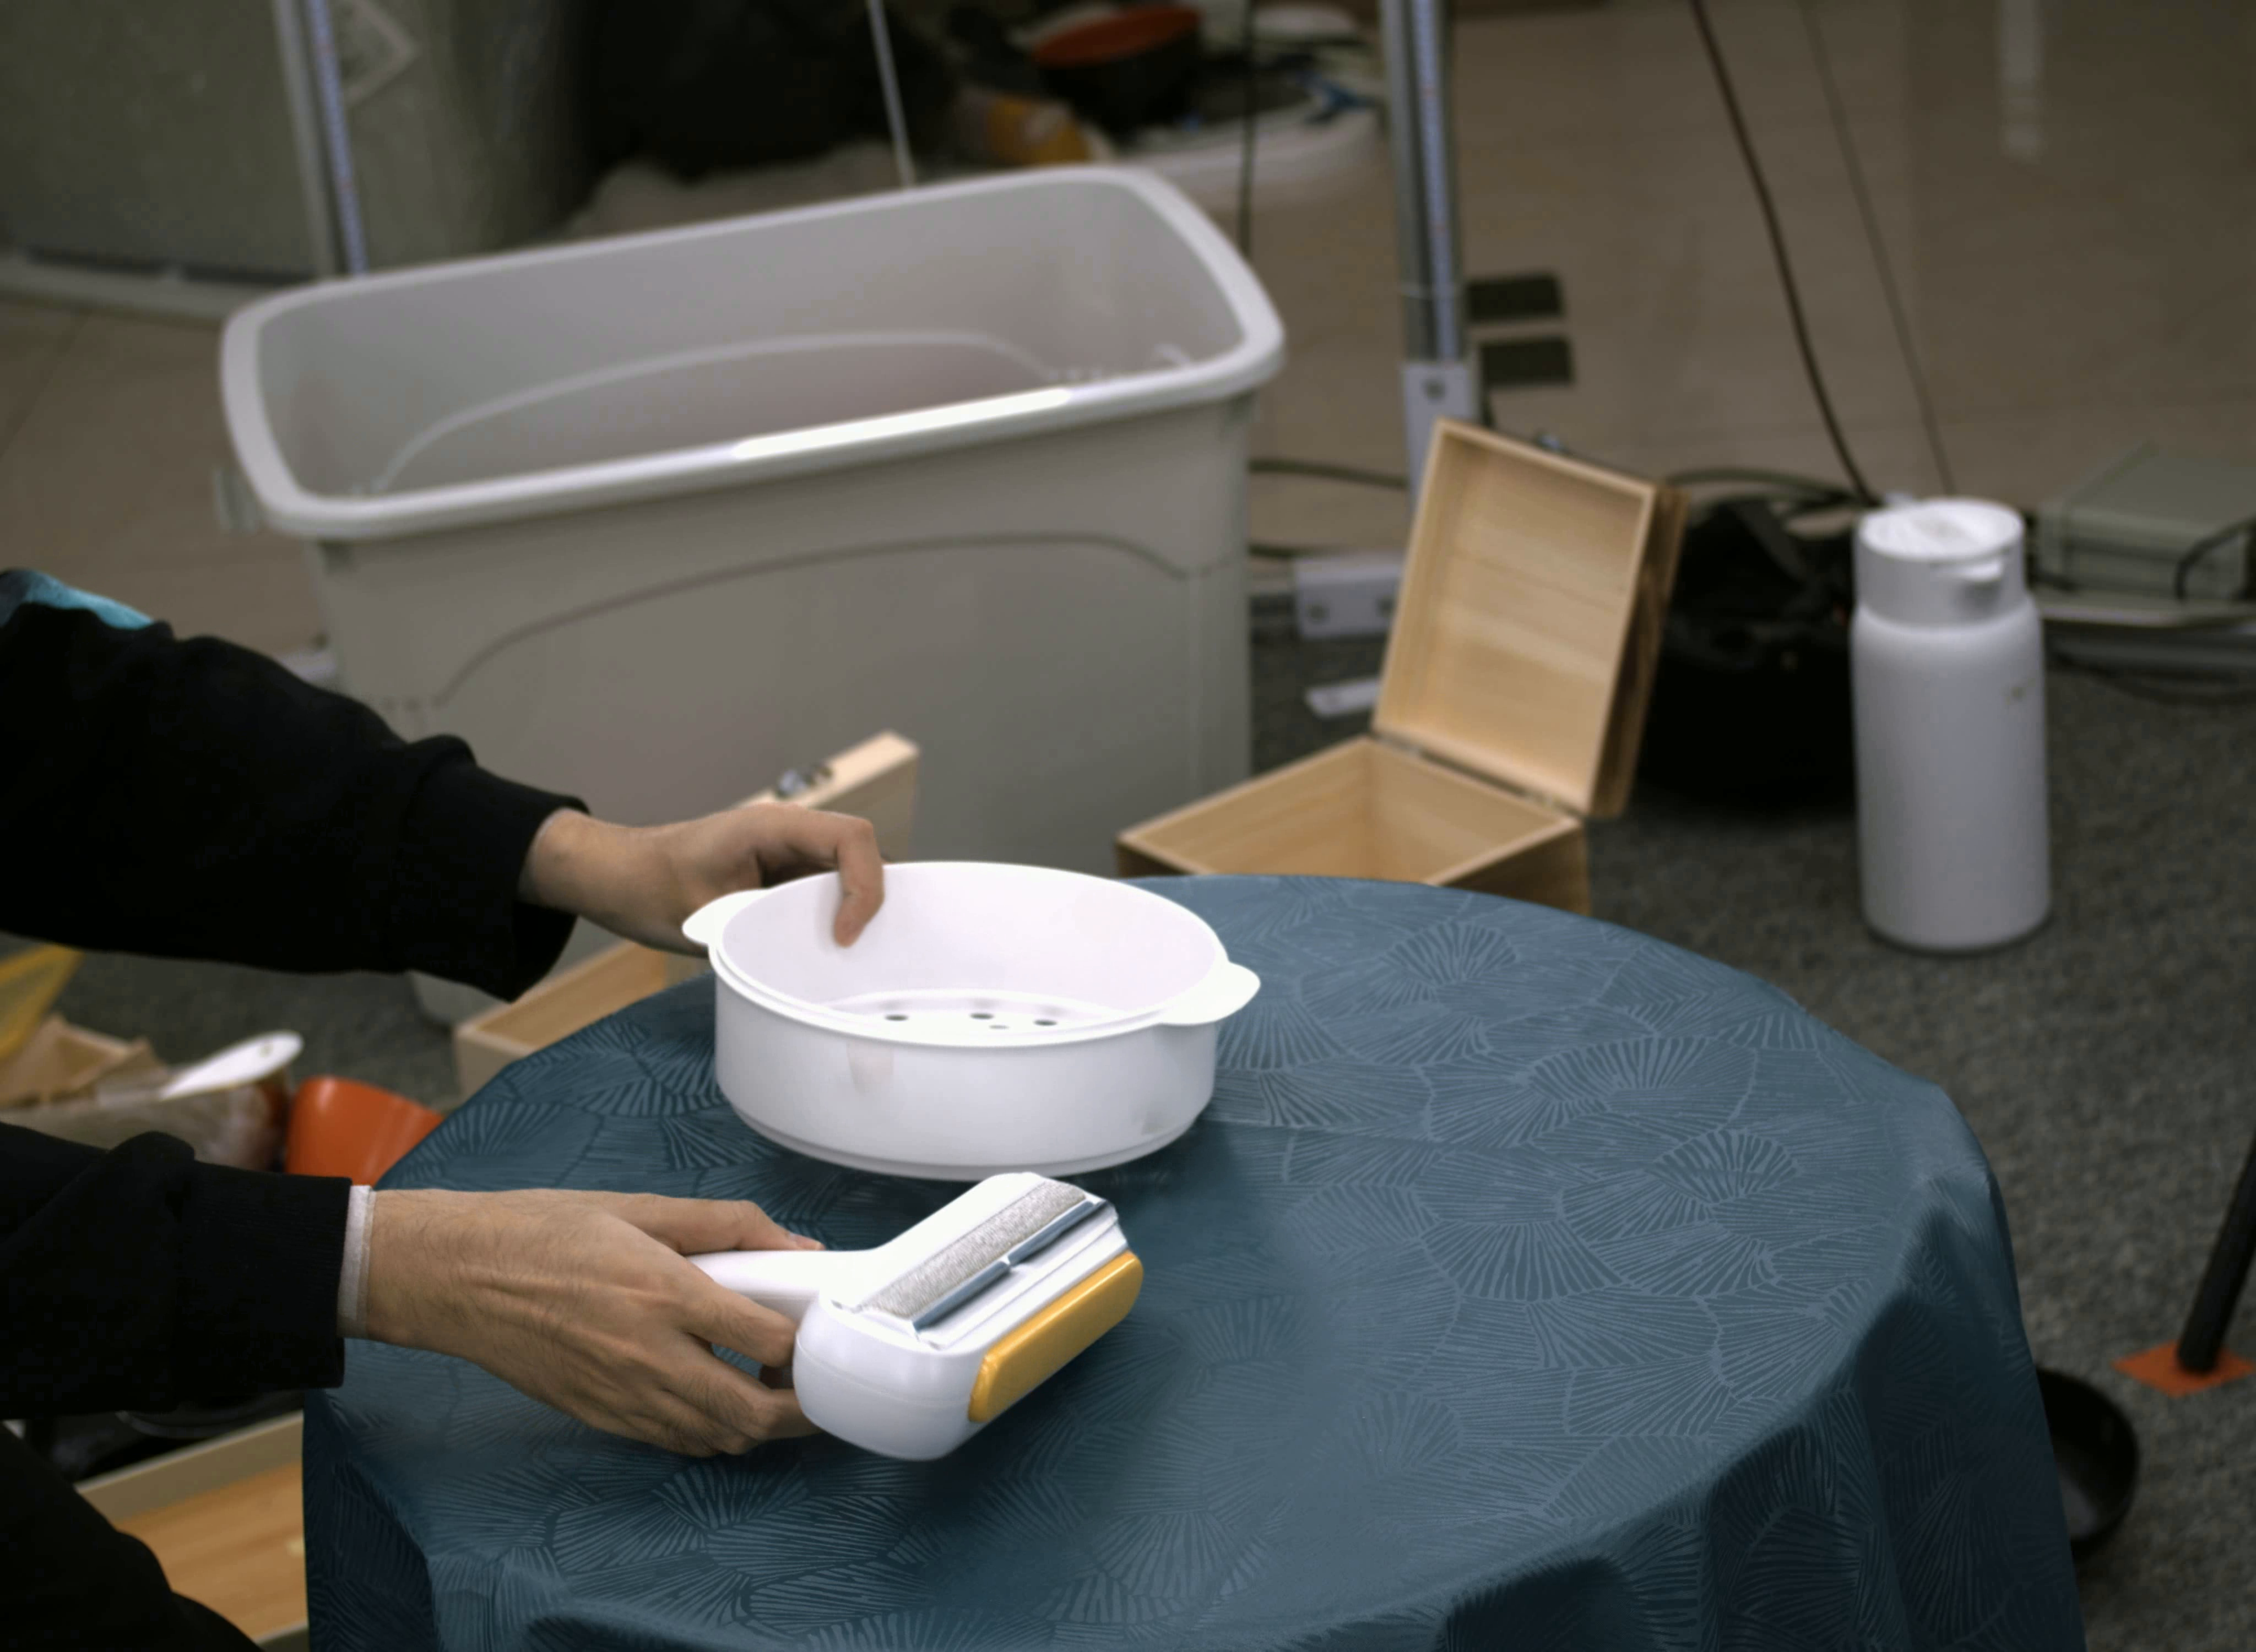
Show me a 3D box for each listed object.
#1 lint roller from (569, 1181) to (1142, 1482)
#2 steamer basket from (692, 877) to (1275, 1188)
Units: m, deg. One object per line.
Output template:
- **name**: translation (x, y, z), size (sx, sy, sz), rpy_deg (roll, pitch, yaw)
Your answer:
- **lint roller**: translation (-0.110, 0.167, 2.002), size (0.191, 0.075, 0.191), rpy_deg (14, 22, 22)
- **steamer basket**: translation (-0.056, 0.079, 2.184), size (0.230, 0.070, 0.200), rpy_deg (6, 19, 21)
